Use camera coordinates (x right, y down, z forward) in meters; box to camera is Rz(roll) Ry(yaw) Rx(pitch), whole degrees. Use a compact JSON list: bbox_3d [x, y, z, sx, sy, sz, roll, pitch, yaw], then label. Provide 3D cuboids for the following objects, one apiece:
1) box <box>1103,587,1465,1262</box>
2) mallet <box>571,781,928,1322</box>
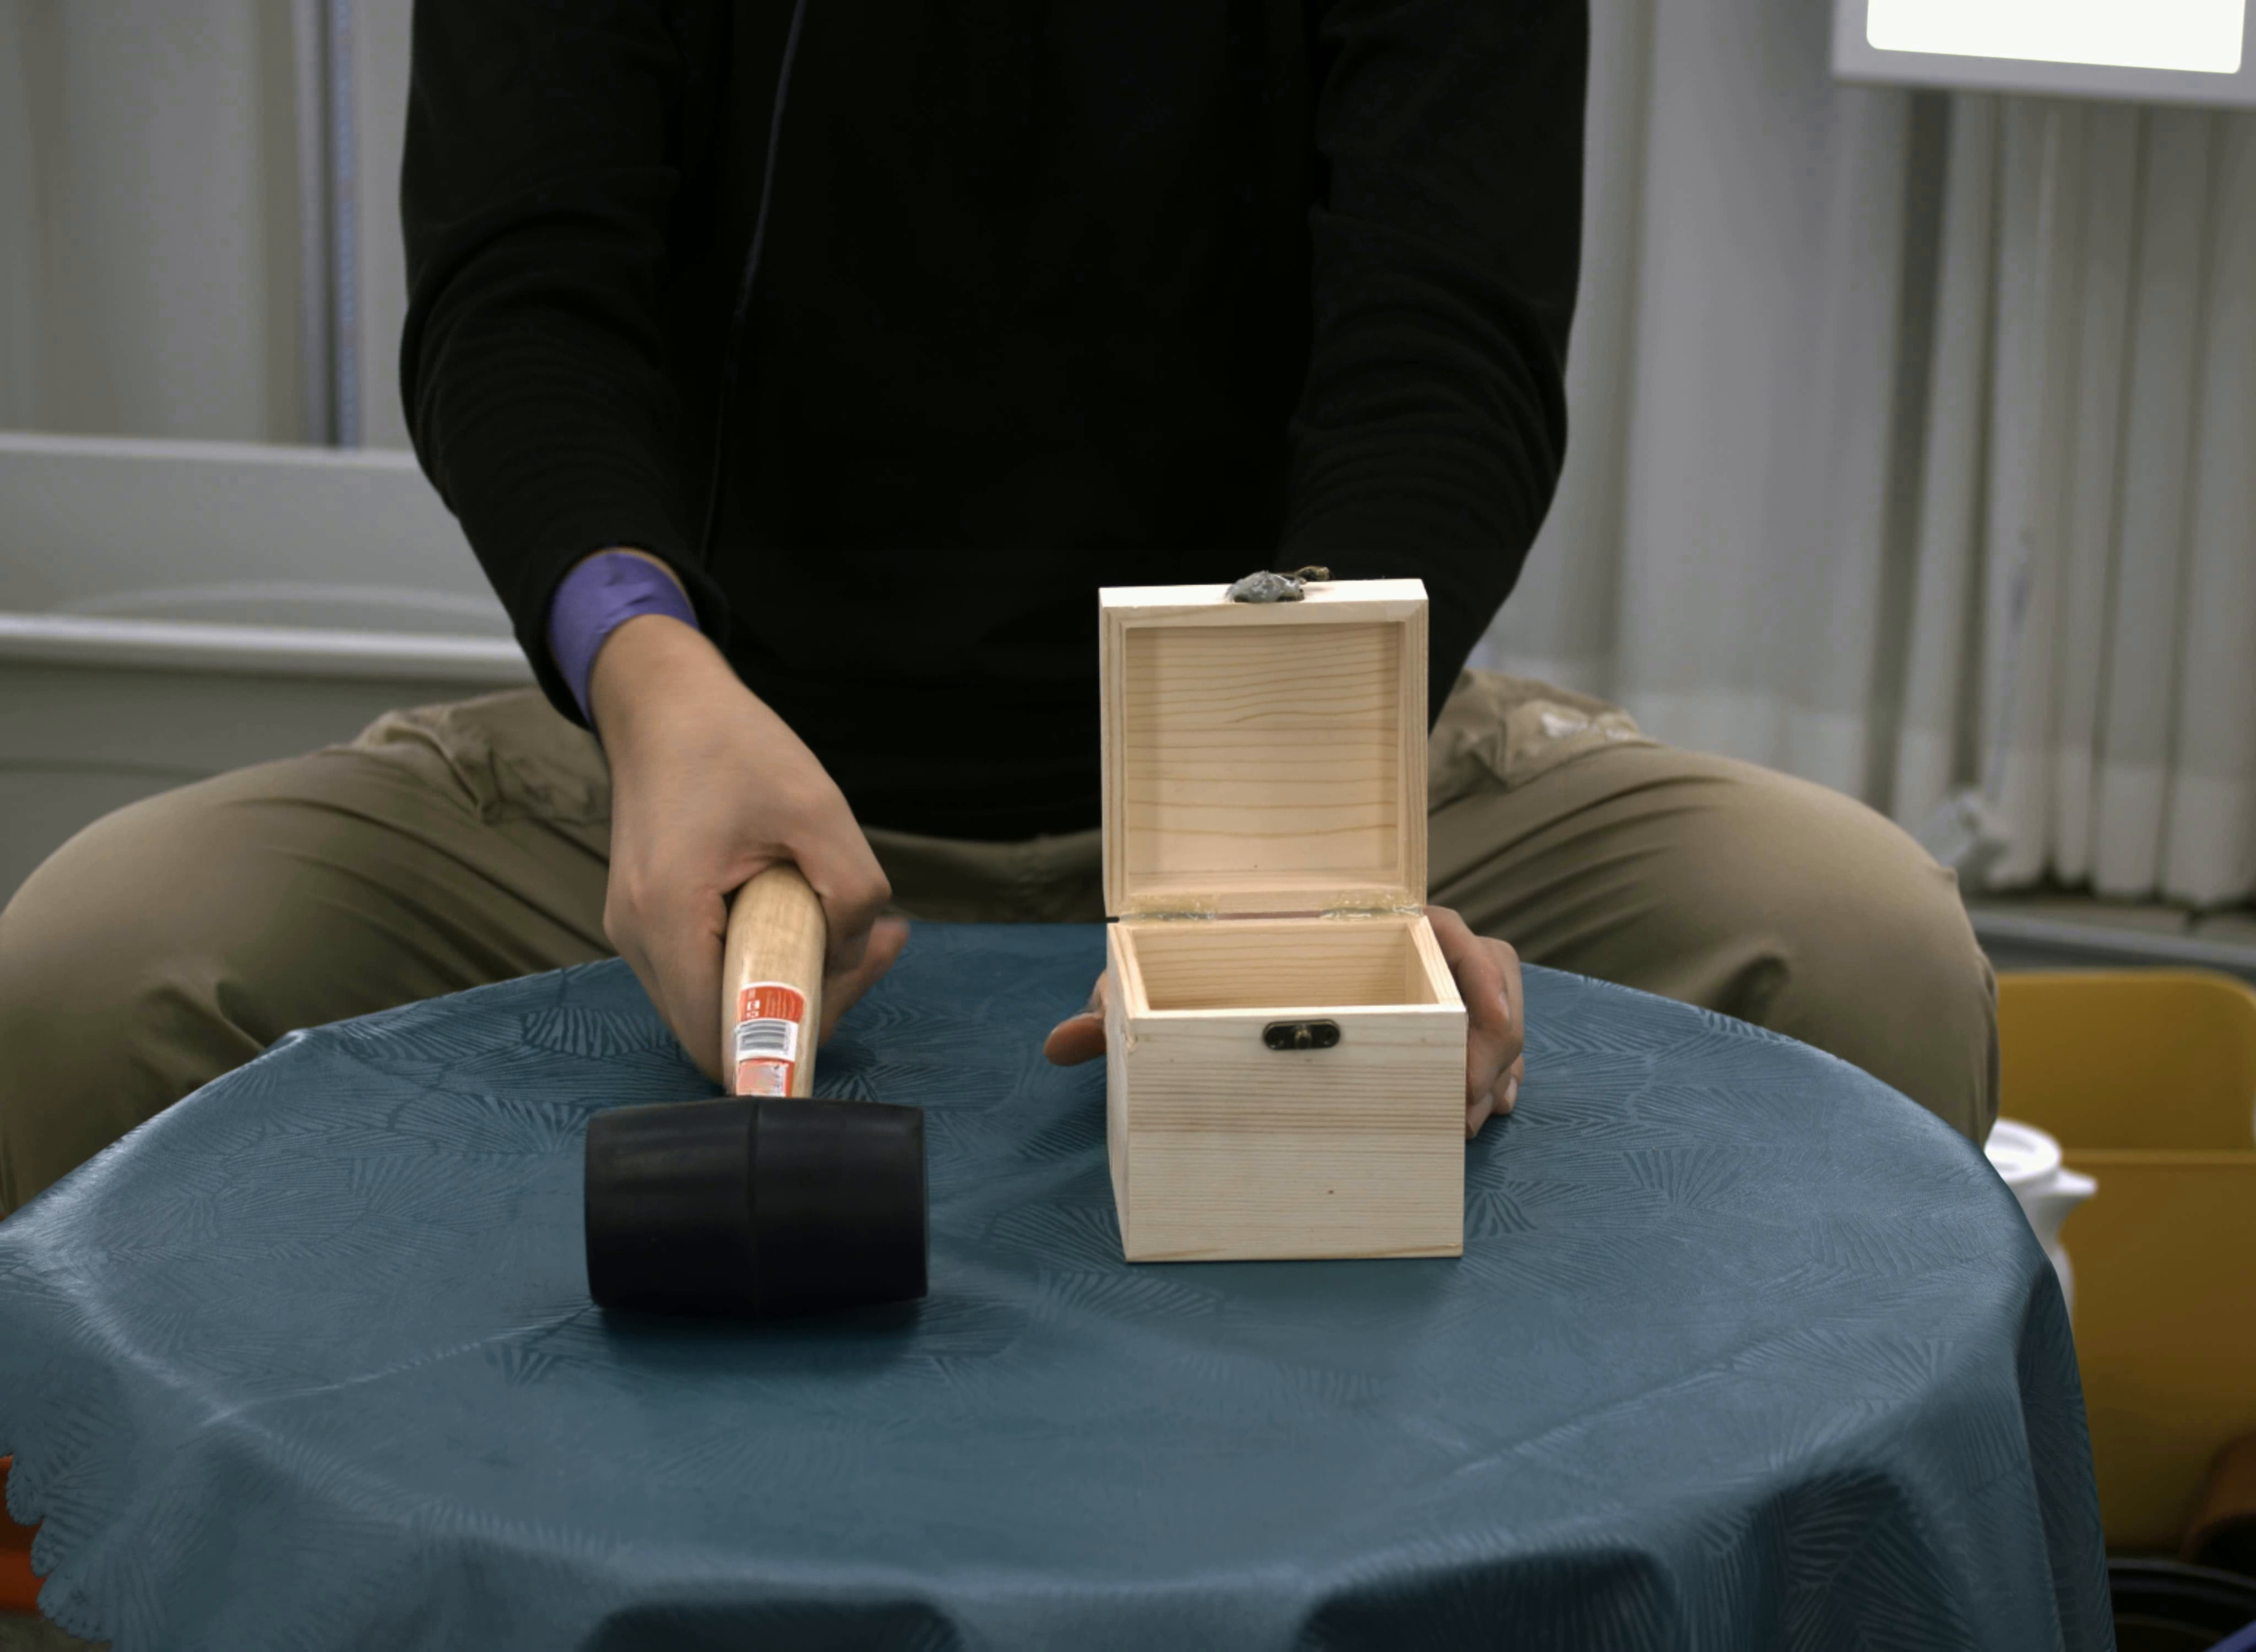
[{"bbox_3d":[0.046,0.026,1.595,0.102,0.186,0.133,0,13,-4],"label":"box"},{"bbox_3d":[-0.109,0.052,1.634,0.101,0.065,0.336,3,25,-2],"label":"mallet"}]
